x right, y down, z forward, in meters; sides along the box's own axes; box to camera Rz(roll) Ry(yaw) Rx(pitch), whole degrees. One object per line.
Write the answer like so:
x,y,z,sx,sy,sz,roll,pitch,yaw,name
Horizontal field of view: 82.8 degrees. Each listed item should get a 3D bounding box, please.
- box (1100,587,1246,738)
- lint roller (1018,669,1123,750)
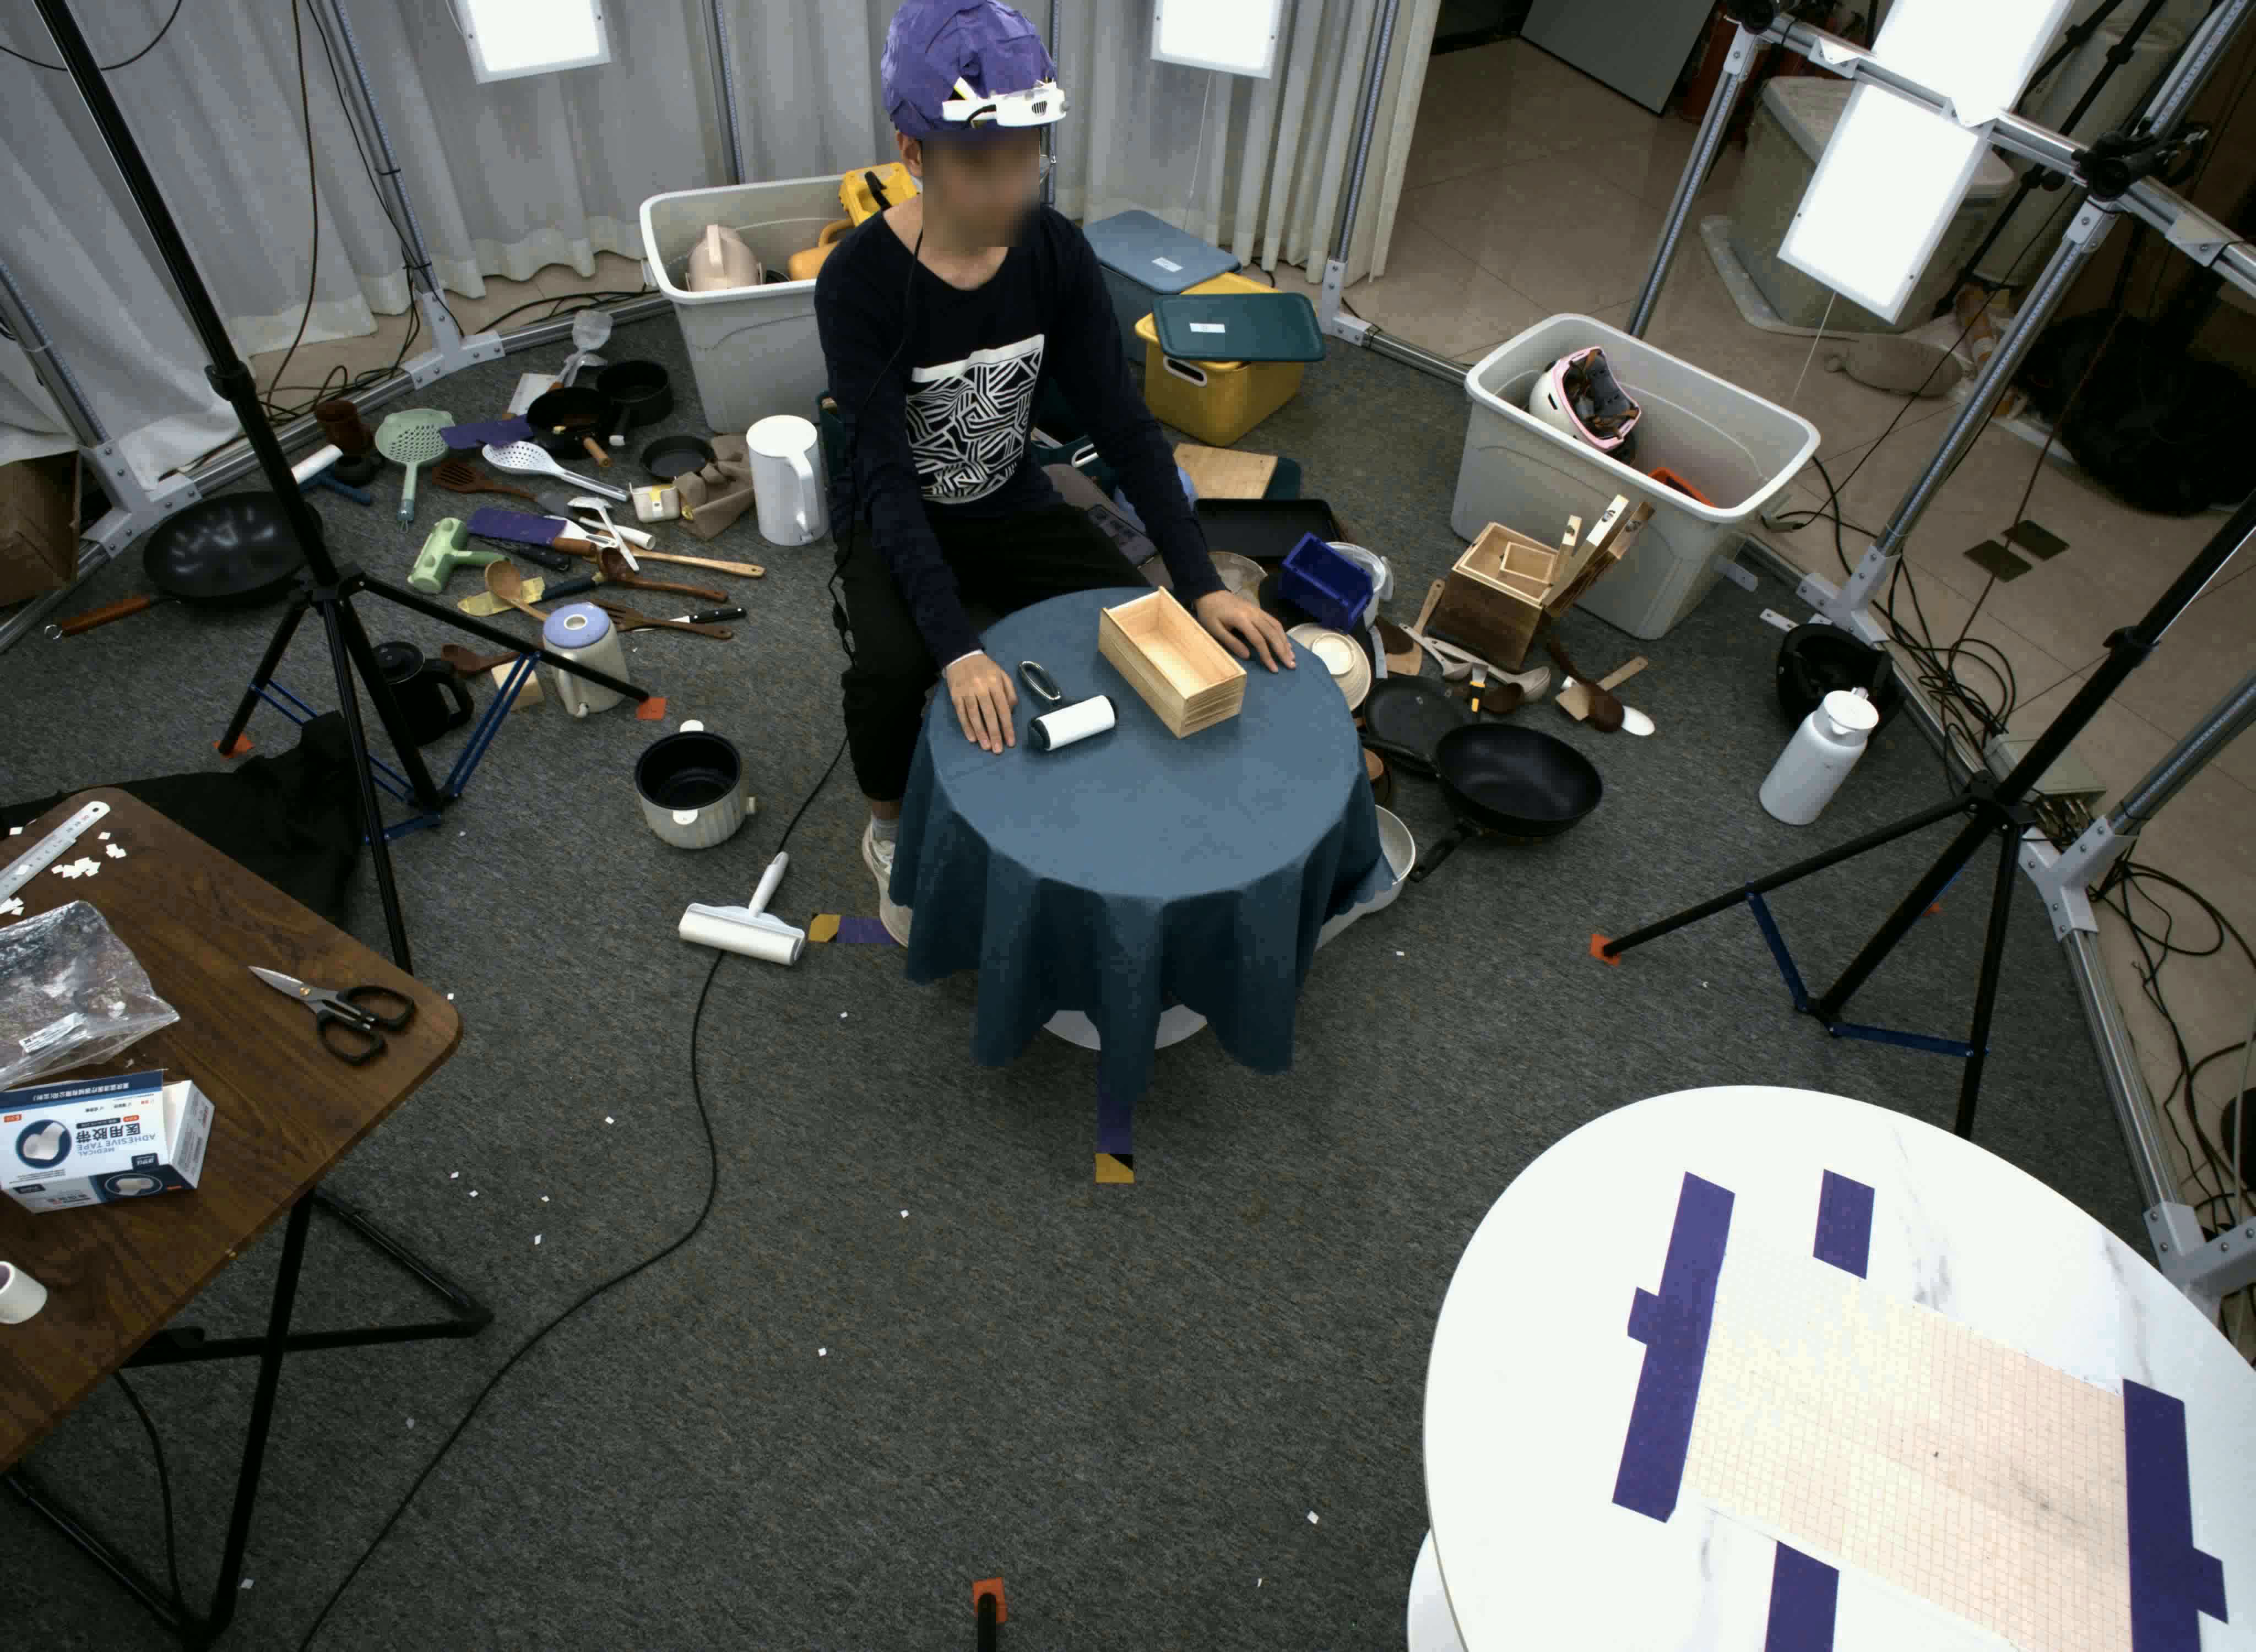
0.061,-0.234,1.824,0.108,0.078,0.216,-25,54,-22,box
-0.106,-0.184,1.796,0.135,0.047,0.184,-22,49,-21,lint roller
